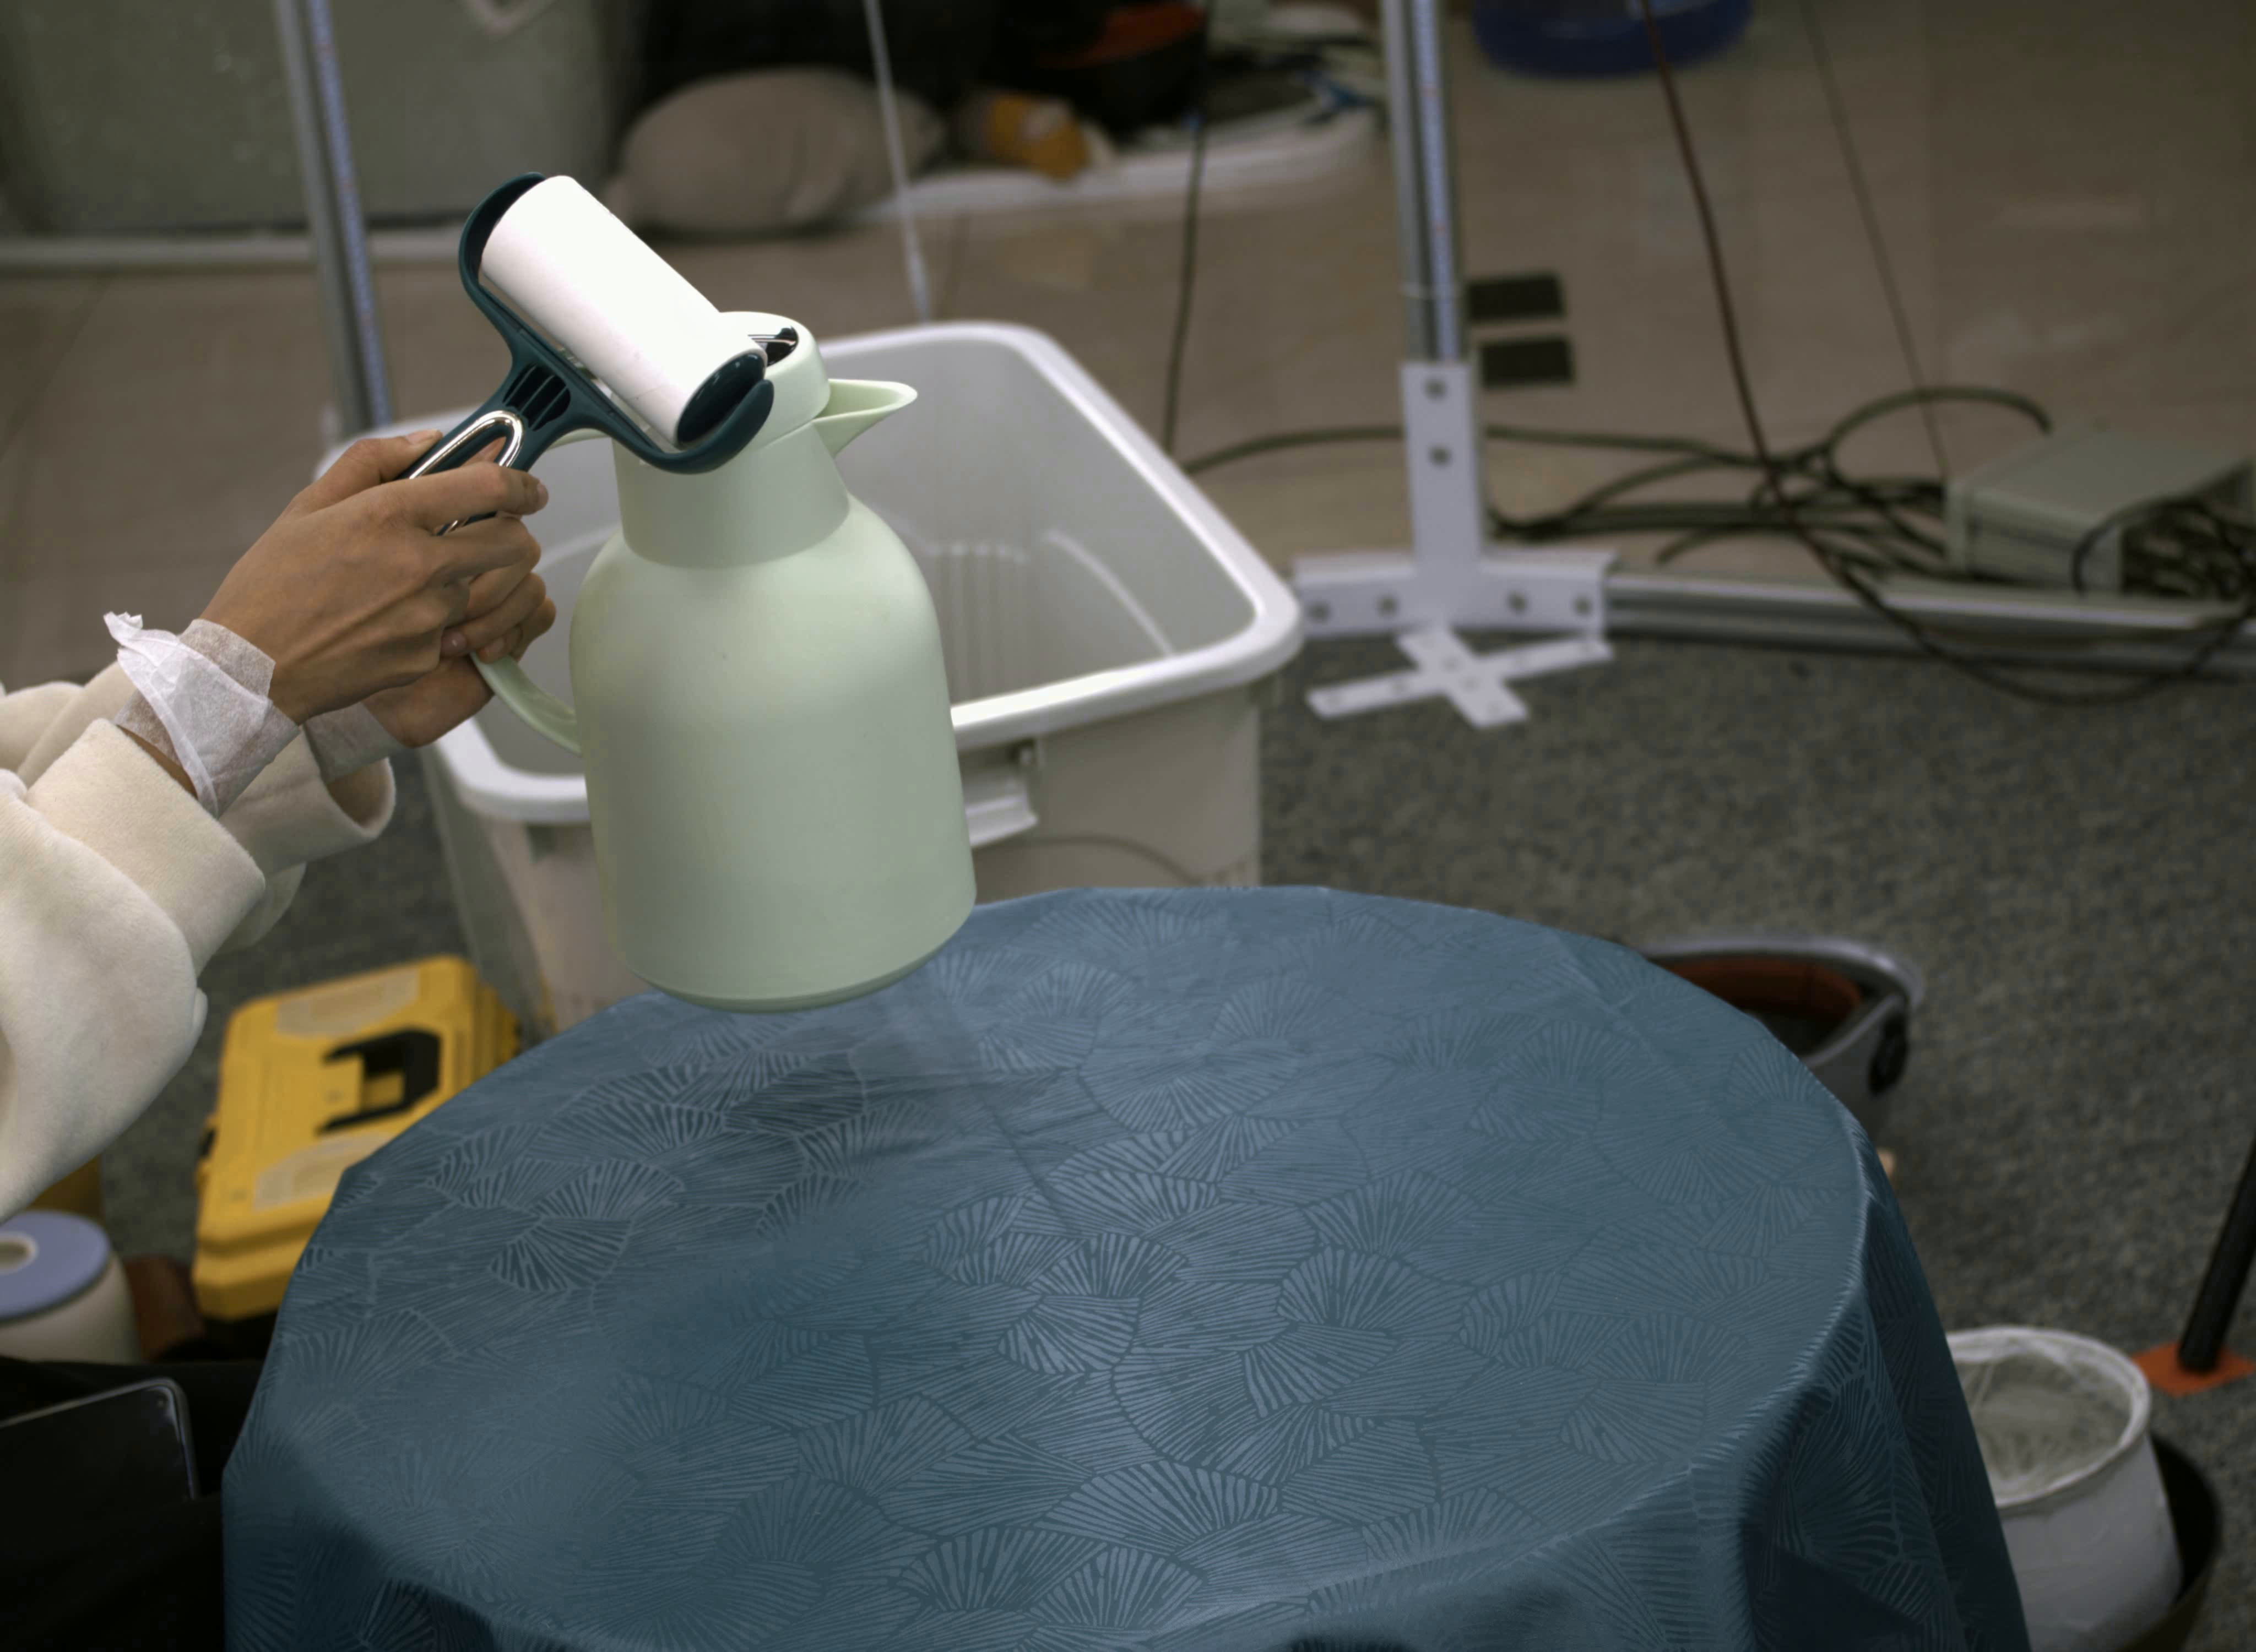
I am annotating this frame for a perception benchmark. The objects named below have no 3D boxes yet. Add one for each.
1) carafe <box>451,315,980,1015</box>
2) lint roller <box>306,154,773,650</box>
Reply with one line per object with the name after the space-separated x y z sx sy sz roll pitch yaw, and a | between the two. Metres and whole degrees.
-0.156 -0.065 2.152 0.186 0.261 0.142 -6 30 7 | carafe
-0.226 -0.135 1.989 0.179 0.049 0.133 -44 74 -9 | lint roller
